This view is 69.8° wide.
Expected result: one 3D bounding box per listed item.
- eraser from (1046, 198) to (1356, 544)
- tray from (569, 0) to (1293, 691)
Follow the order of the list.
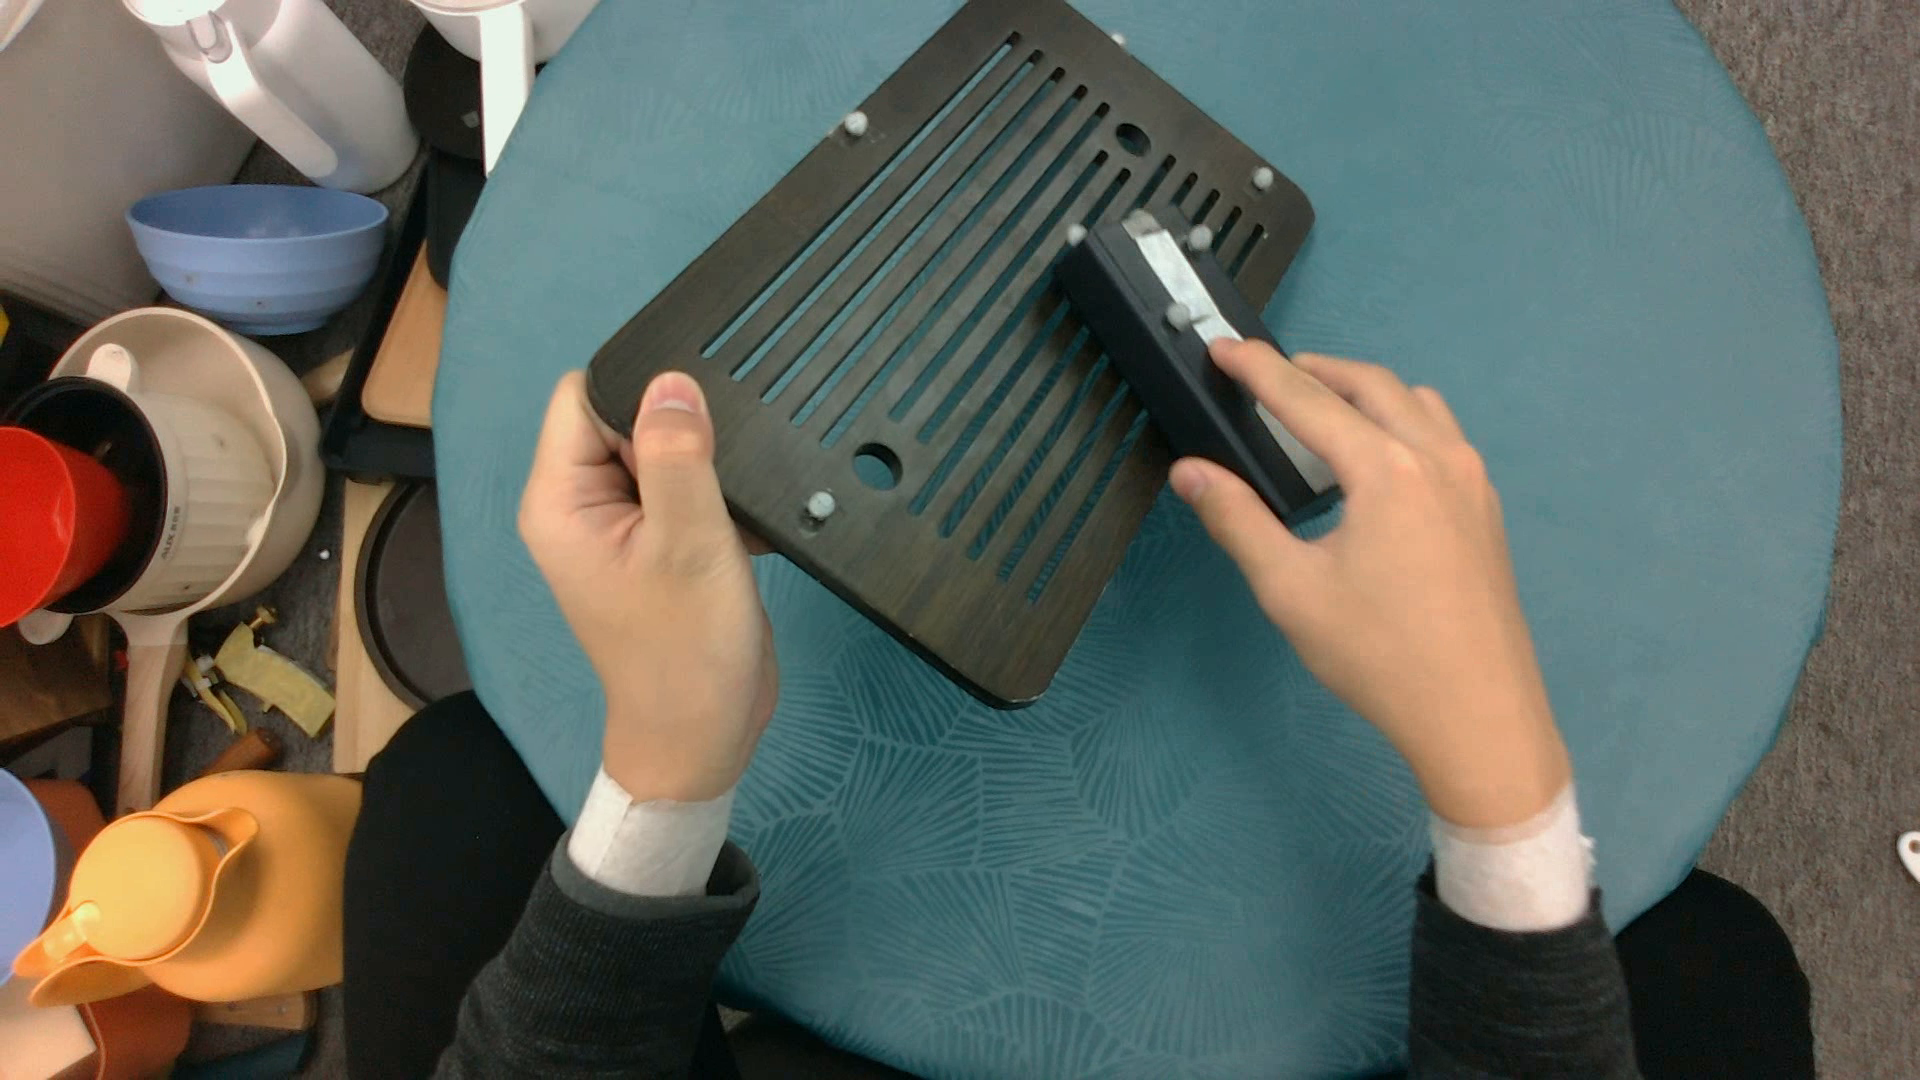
[{"bbox_3d":[0.086,-0.062,0.498,0.054,0.030,0.125,-28,79,-33],"label":"eraser"},{"bbox_3d":[0.012,-0.098,0.506,0.170,0.018,0.307,37,52,-4],"label":"tray"}]
